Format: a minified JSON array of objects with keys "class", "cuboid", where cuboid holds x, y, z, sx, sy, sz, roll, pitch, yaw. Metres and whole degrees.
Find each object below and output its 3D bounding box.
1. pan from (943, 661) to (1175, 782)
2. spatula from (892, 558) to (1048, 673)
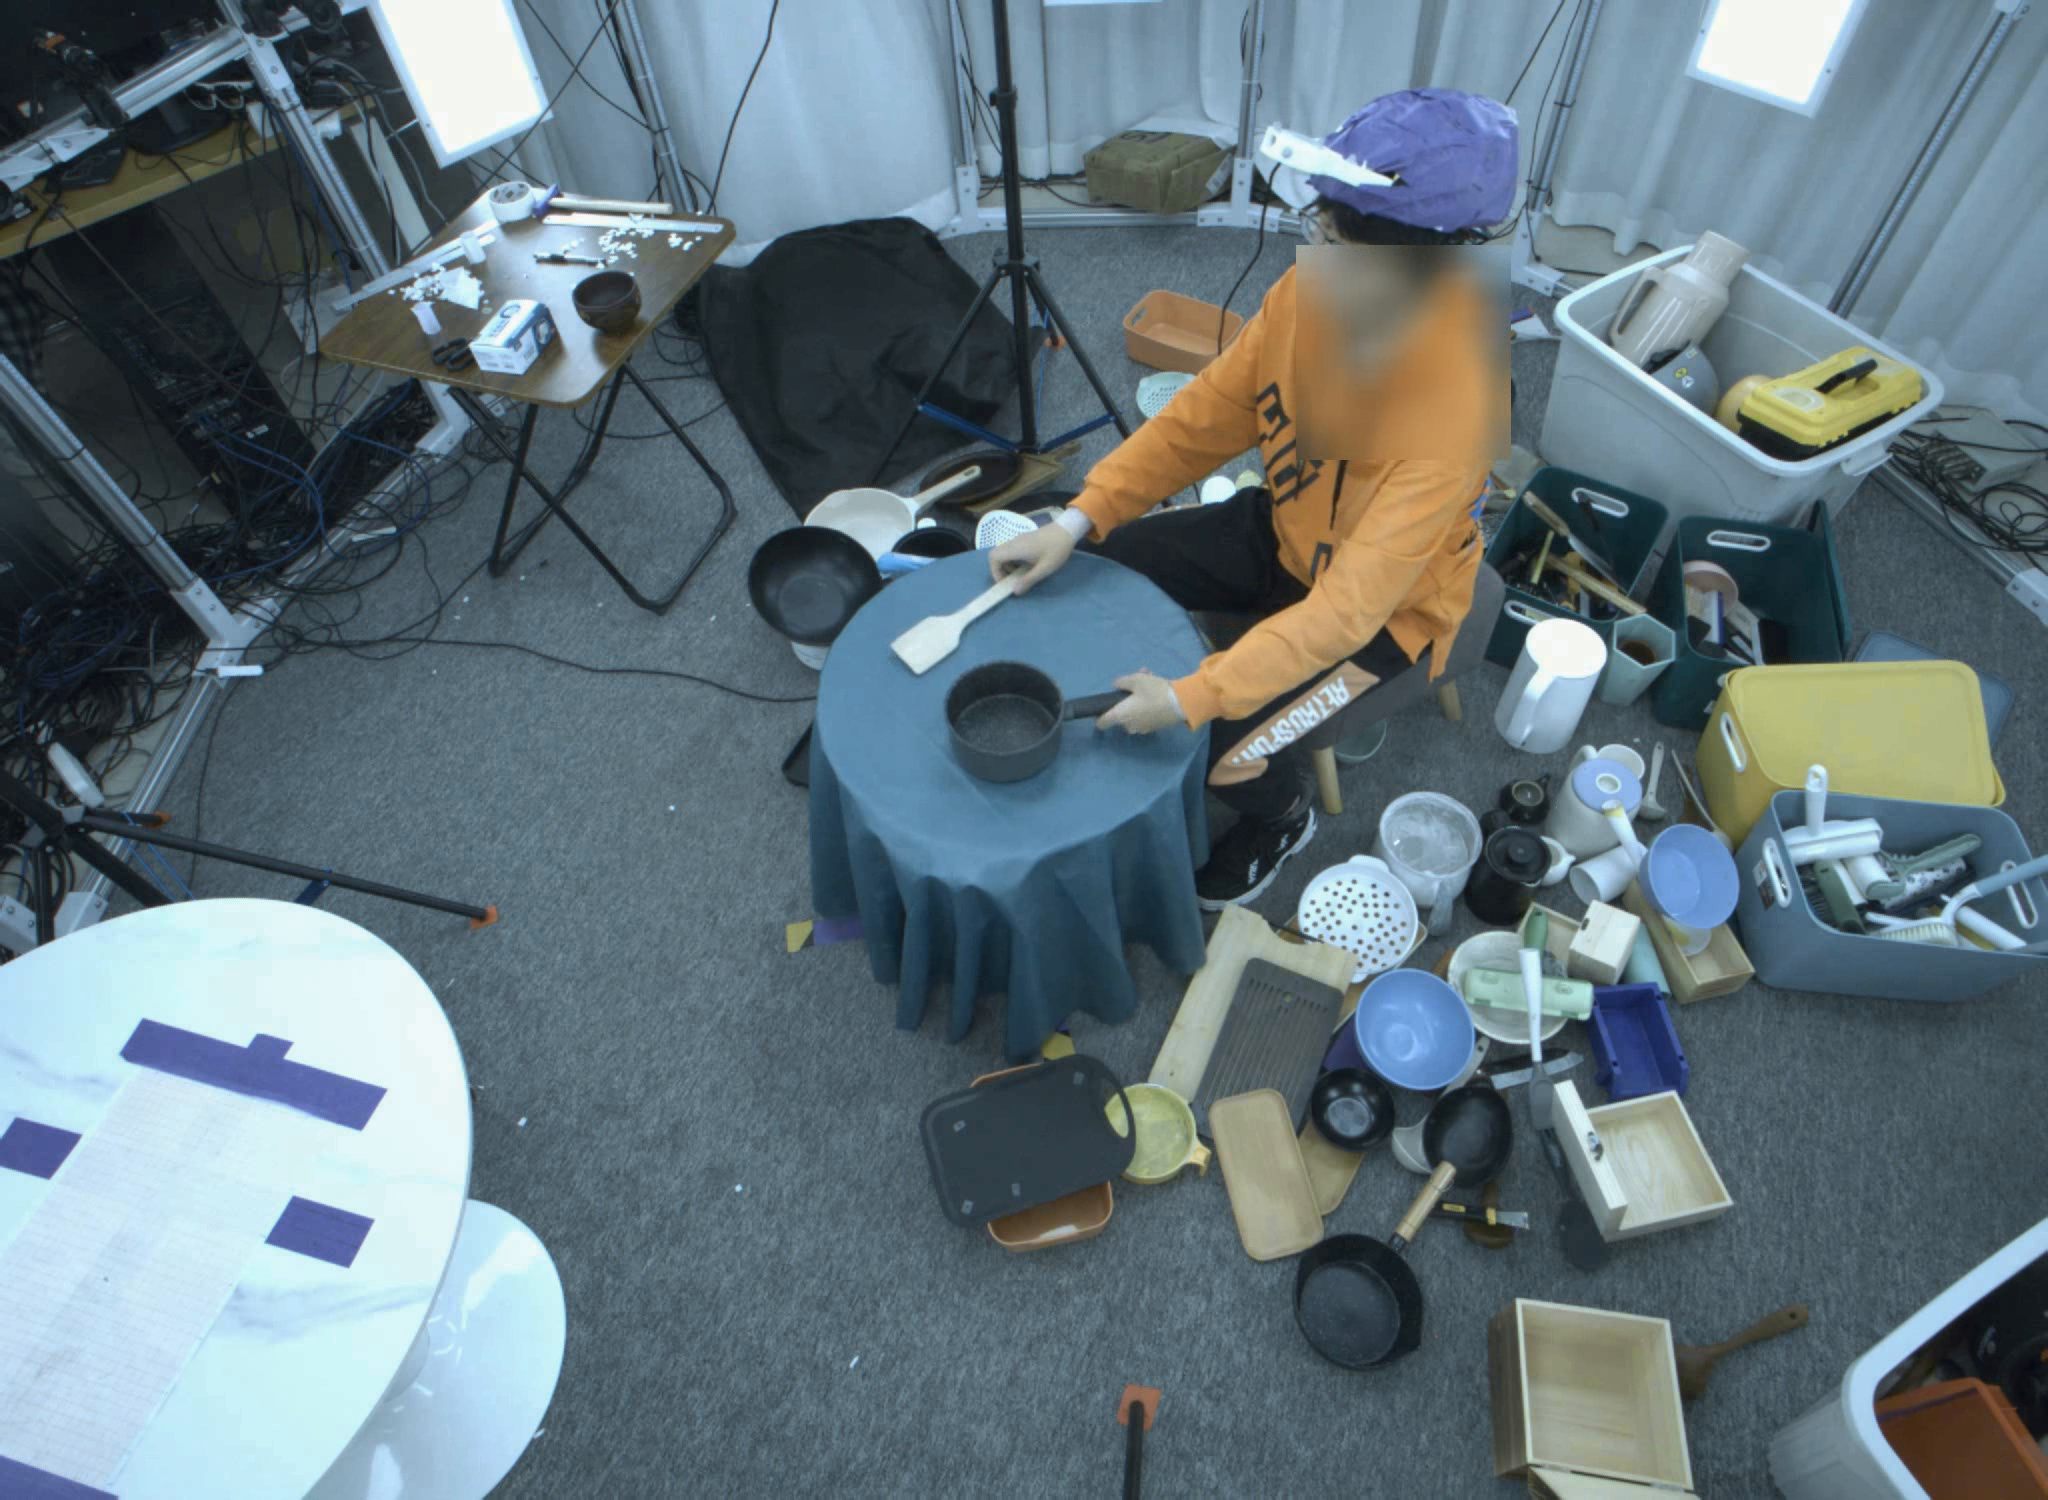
[{"class":"pan","cuboid":[0.052,-0.046,1.766,0.329,0.087,0.170,-3,55,-1]},{"class":"spatula","cuboid":[-0.076,-0.222,1.932,0.295,0.011,0.071,-38,72,-21]}]
